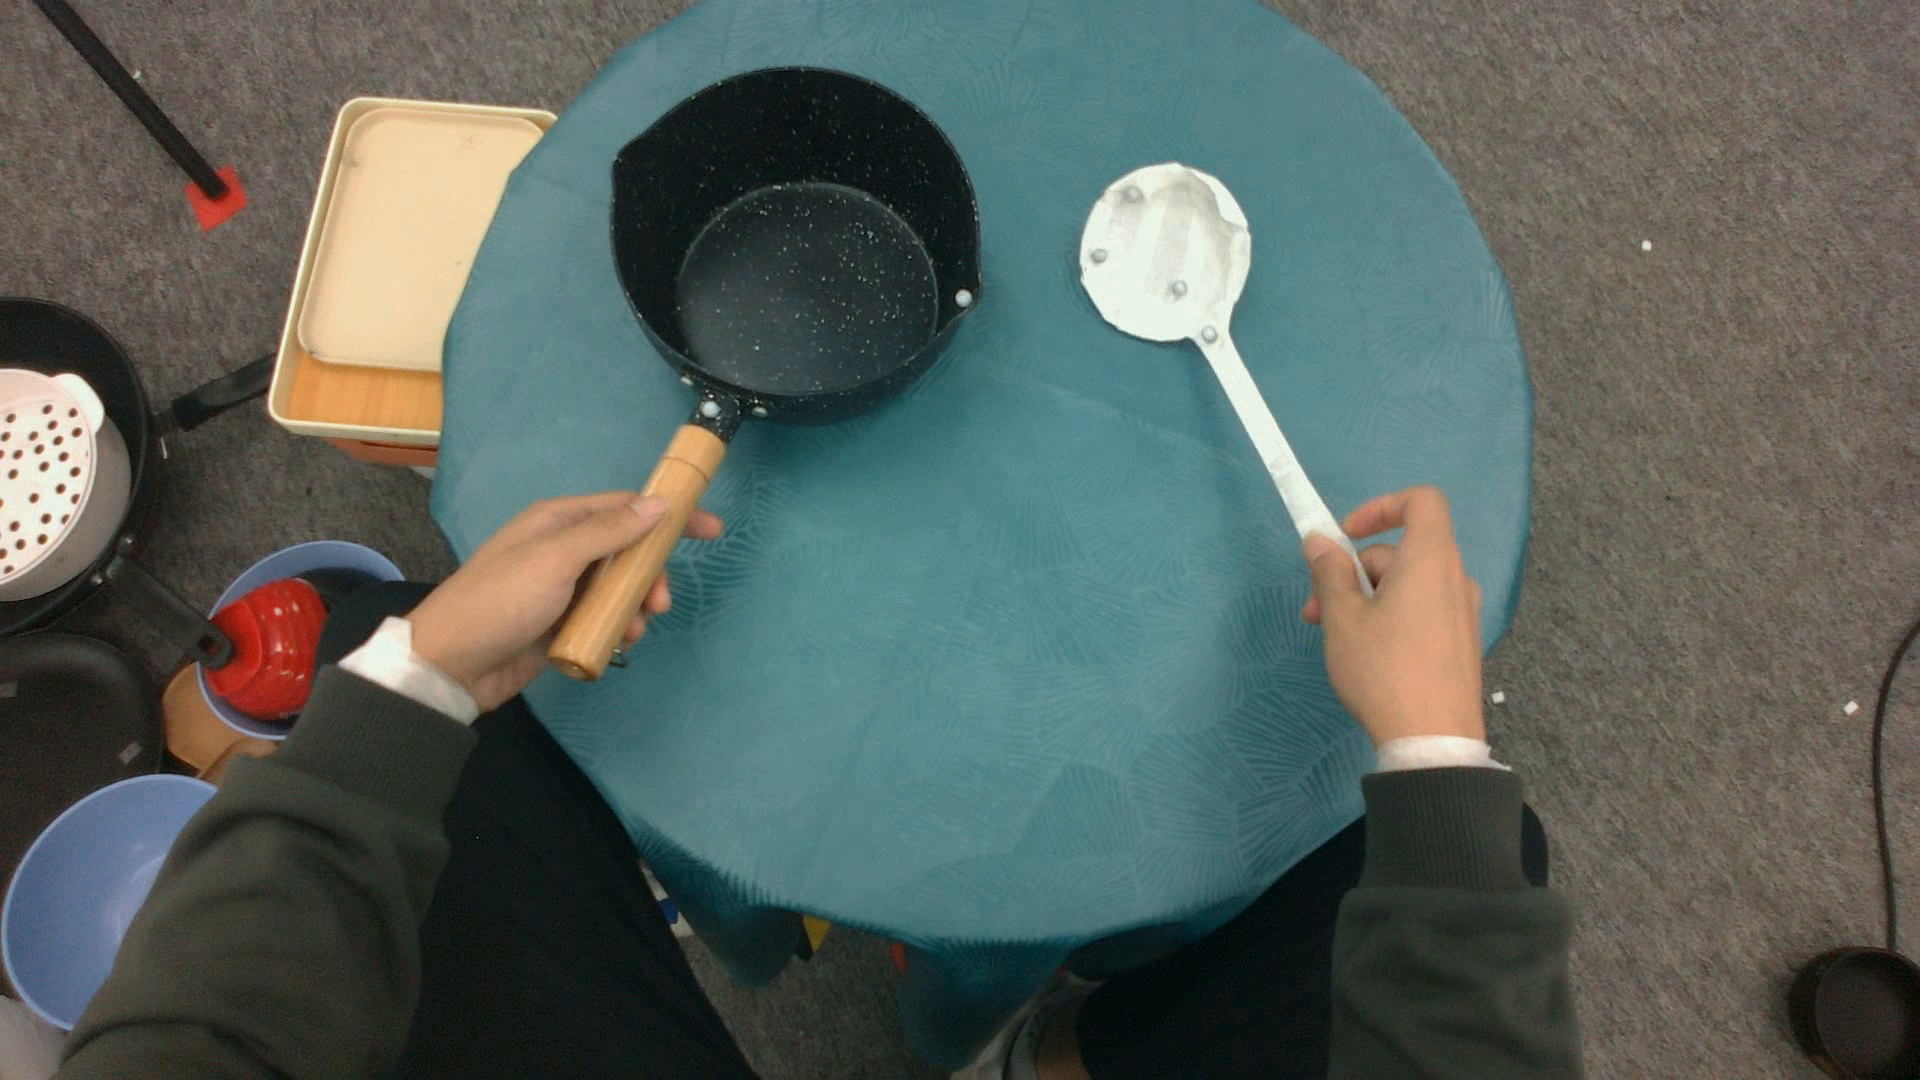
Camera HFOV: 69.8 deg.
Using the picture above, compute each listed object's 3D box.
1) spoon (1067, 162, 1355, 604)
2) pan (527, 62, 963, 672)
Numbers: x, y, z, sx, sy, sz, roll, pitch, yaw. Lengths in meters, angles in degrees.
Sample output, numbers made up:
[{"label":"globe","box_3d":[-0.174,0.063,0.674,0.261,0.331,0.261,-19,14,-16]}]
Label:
[{"label":"spoon","box_3d":[0.133,-0.088,0.709,0.100,0.059,0.278,-21,53,1]},{"label":"pan","box_3d":[-0.121,-0.081,0.697,0.207,0.108,0.344,20,71,2]}]
